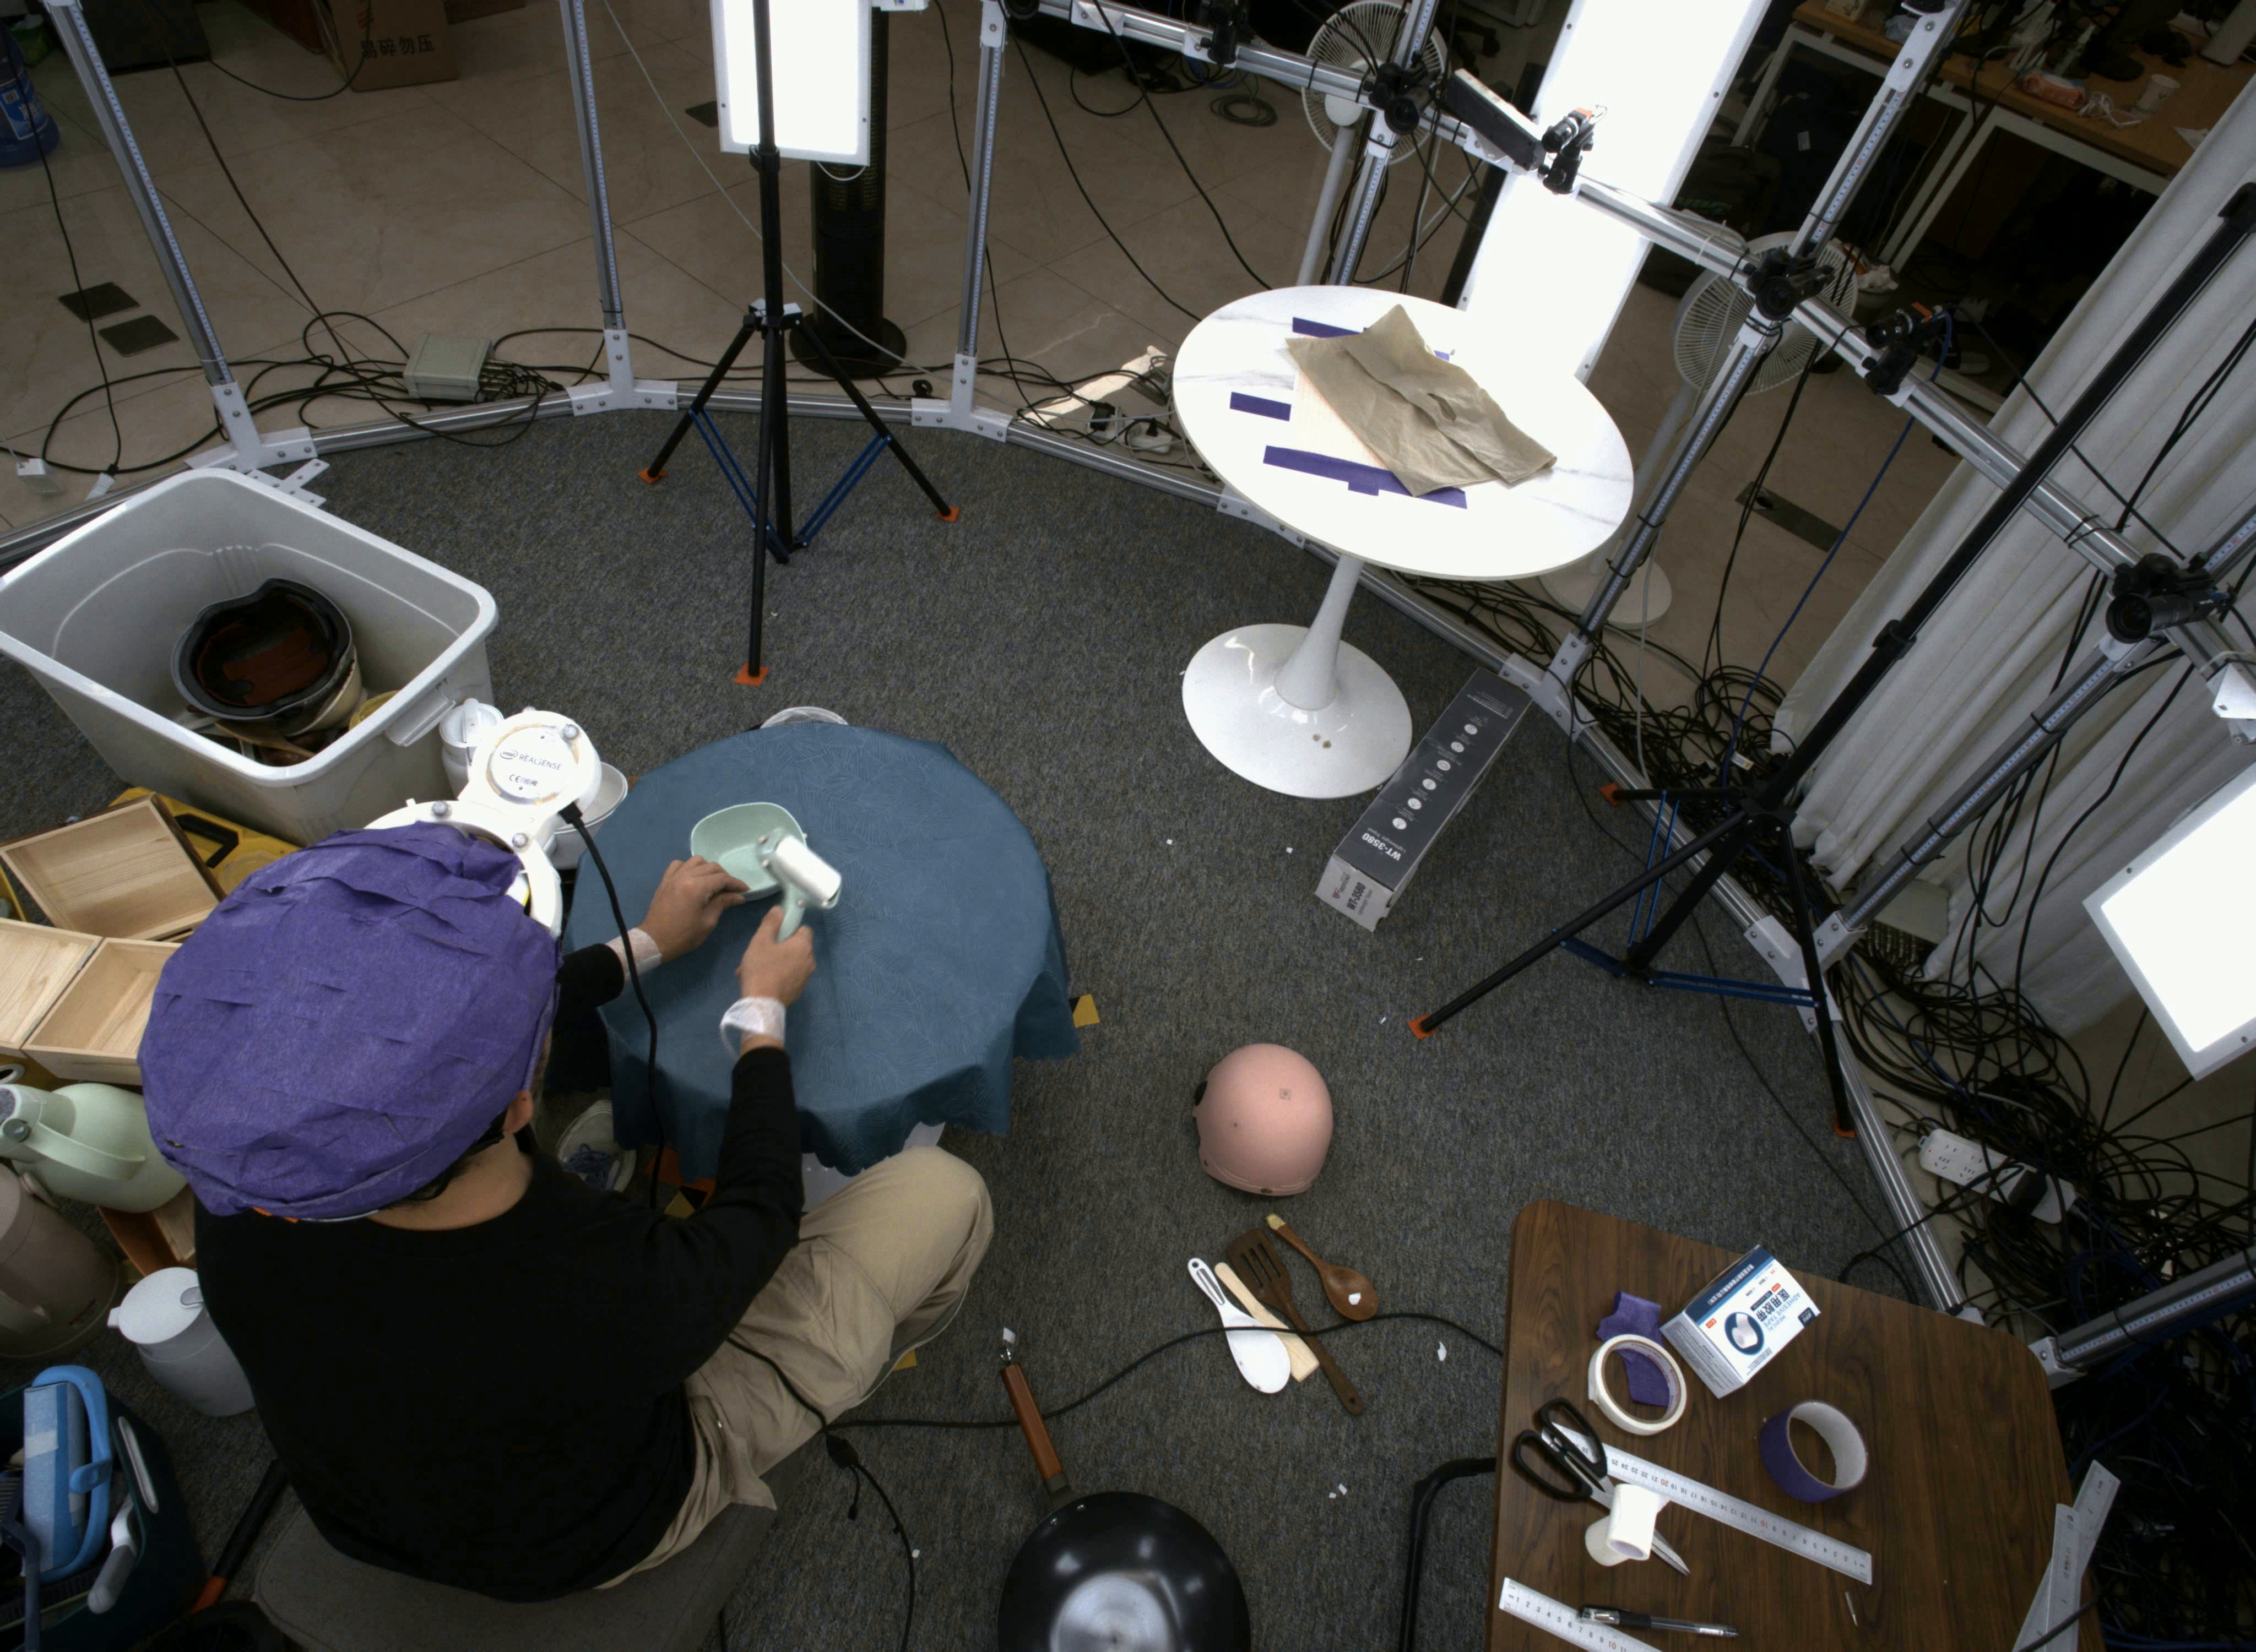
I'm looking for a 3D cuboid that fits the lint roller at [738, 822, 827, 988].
[{"bbox_3d":[-0.421,0.097,1.525,0.047,0.121,0.194,-20,45,25],"label":"lint roller"}]

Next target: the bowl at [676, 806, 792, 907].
[{"bbox_3d":[-0.494,0.046,1.629,0.151,0.060,0.148,8,50,-8],"label":"bowl"}]
